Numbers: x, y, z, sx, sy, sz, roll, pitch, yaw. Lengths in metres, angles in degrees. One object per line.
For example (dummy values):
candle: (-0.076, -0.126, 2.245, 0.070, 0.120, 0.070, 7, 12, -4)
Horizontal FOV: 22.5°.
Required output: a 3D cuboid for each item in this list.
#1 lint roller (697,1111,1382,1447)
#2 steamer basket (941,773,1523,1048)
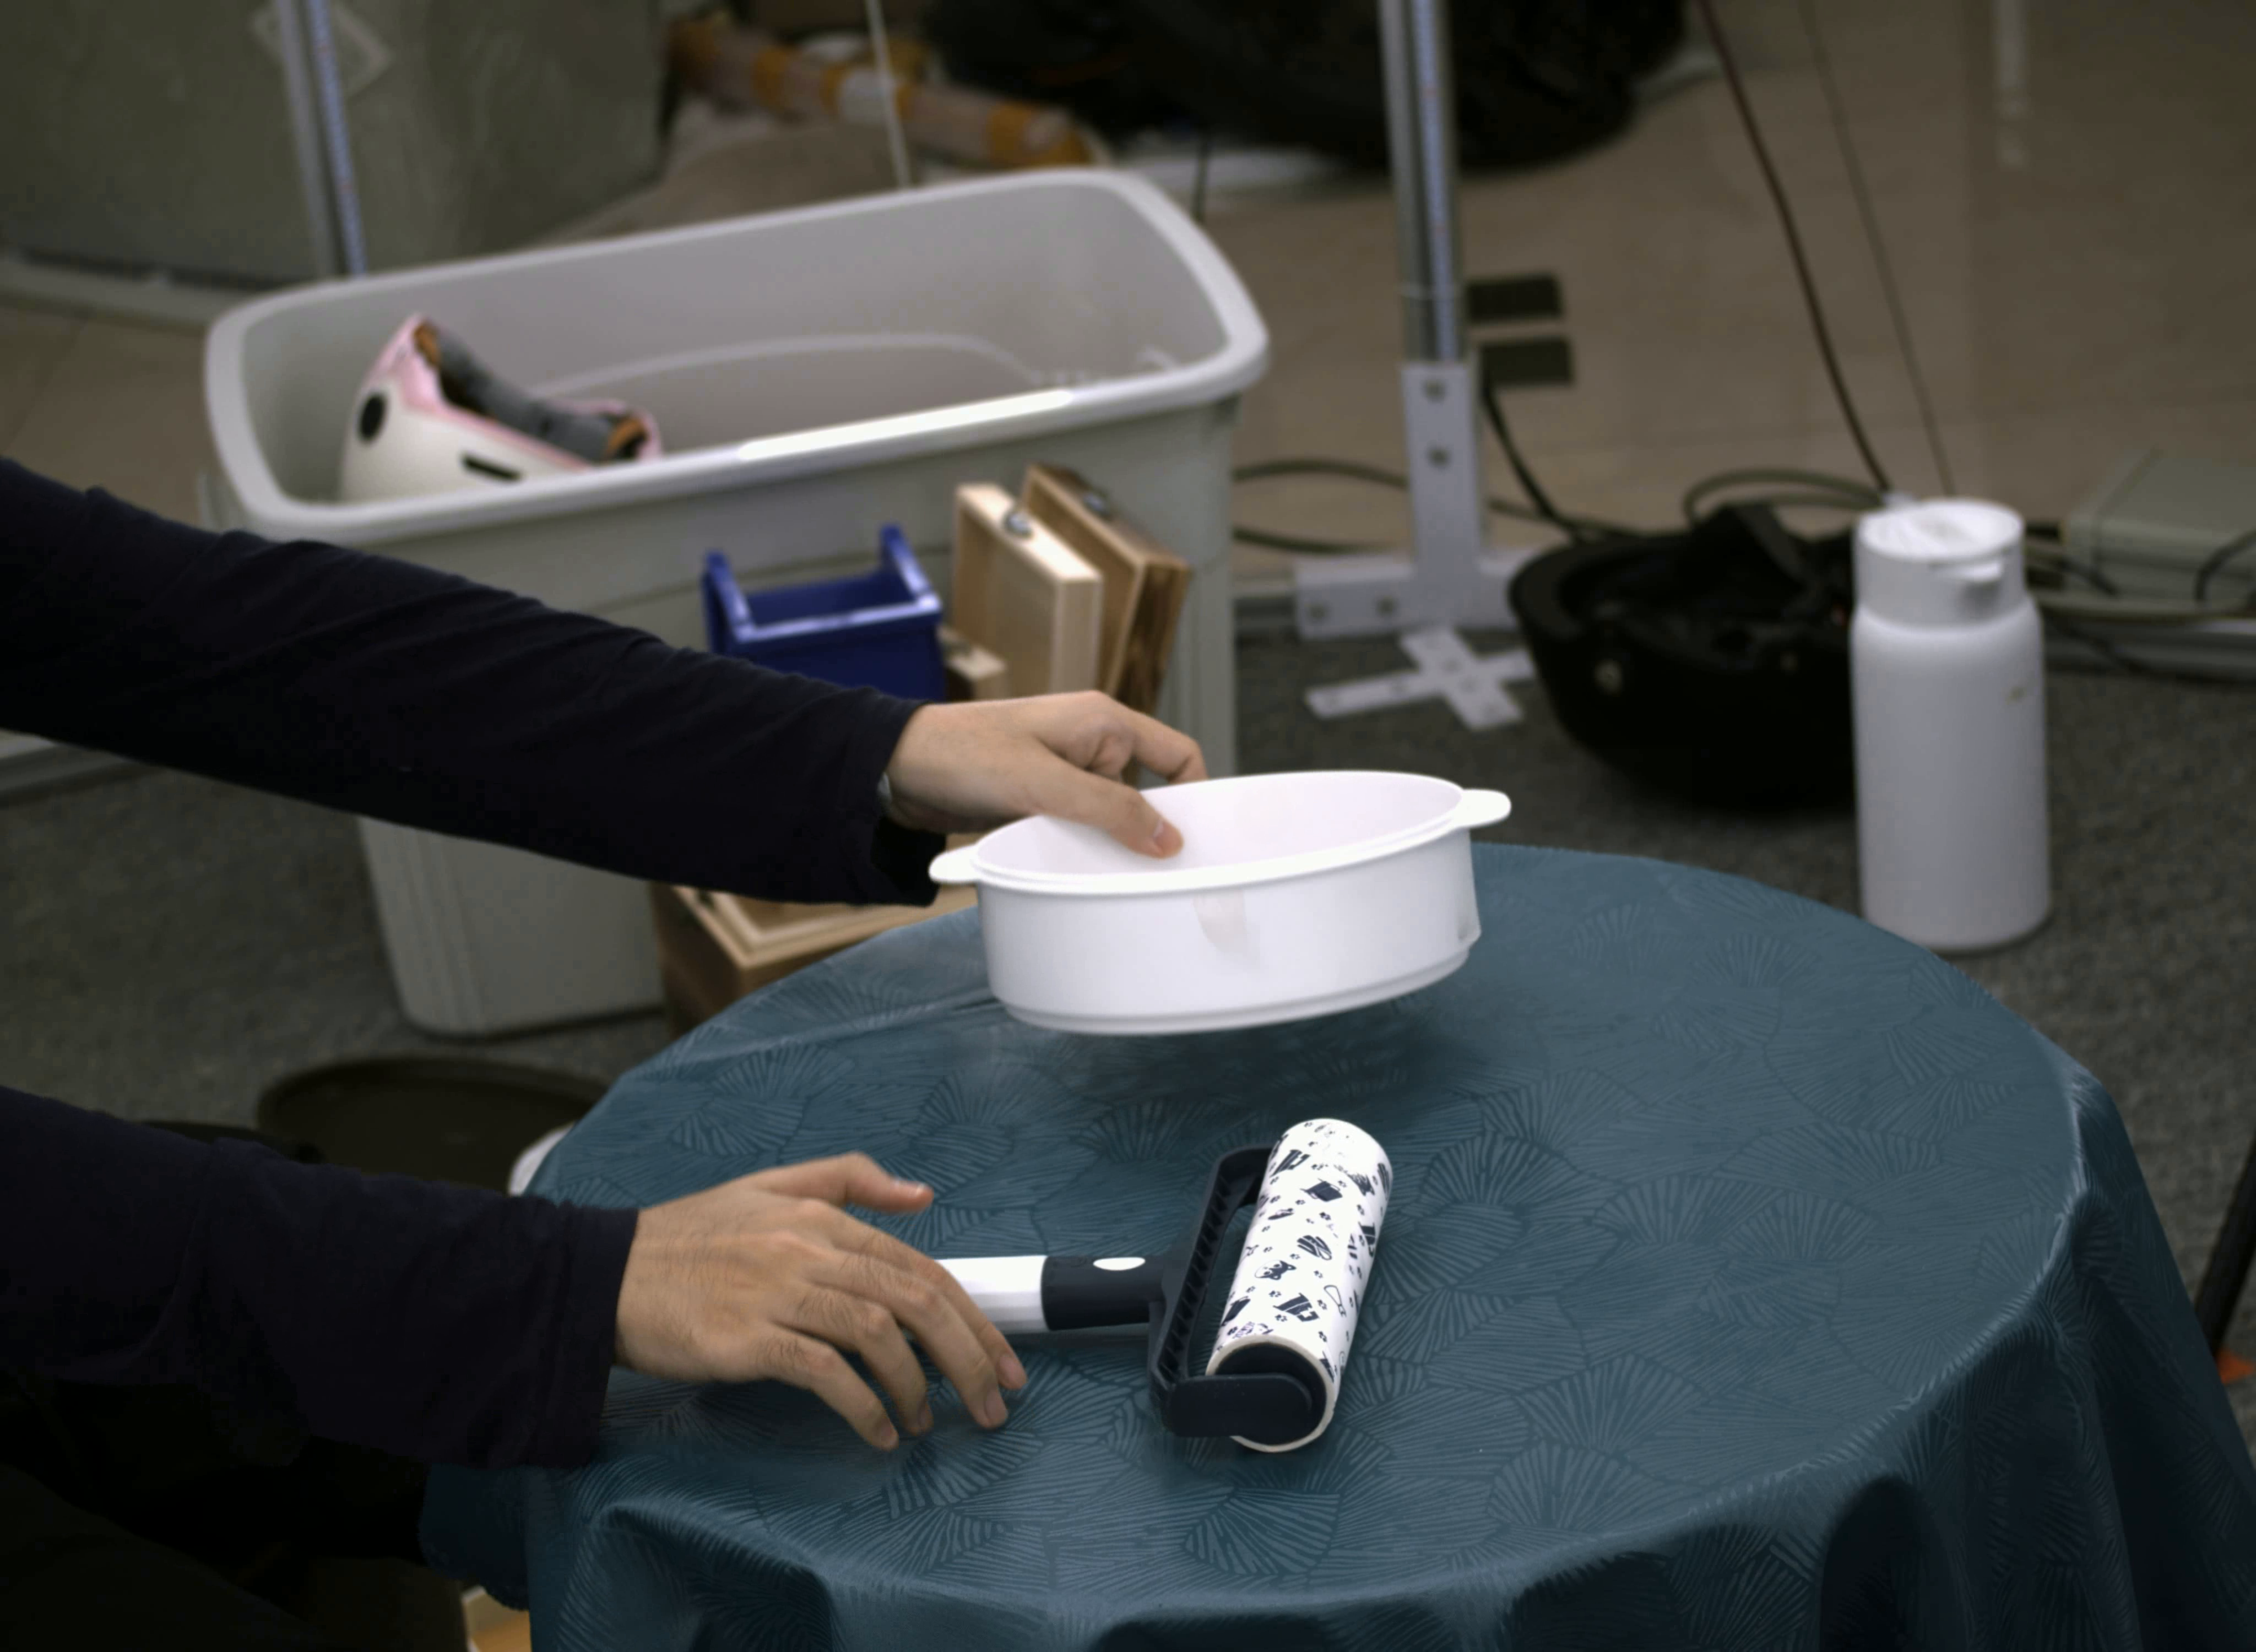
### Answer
lint roller: (-0.038, 0.170, 2.048, 0.247, 0.051, 0.173, -5, 26, 12)
steamer basket: (0.045, 0.034, 2.218, 0.230, 0.070, 0.200, -9, 10, 5)
